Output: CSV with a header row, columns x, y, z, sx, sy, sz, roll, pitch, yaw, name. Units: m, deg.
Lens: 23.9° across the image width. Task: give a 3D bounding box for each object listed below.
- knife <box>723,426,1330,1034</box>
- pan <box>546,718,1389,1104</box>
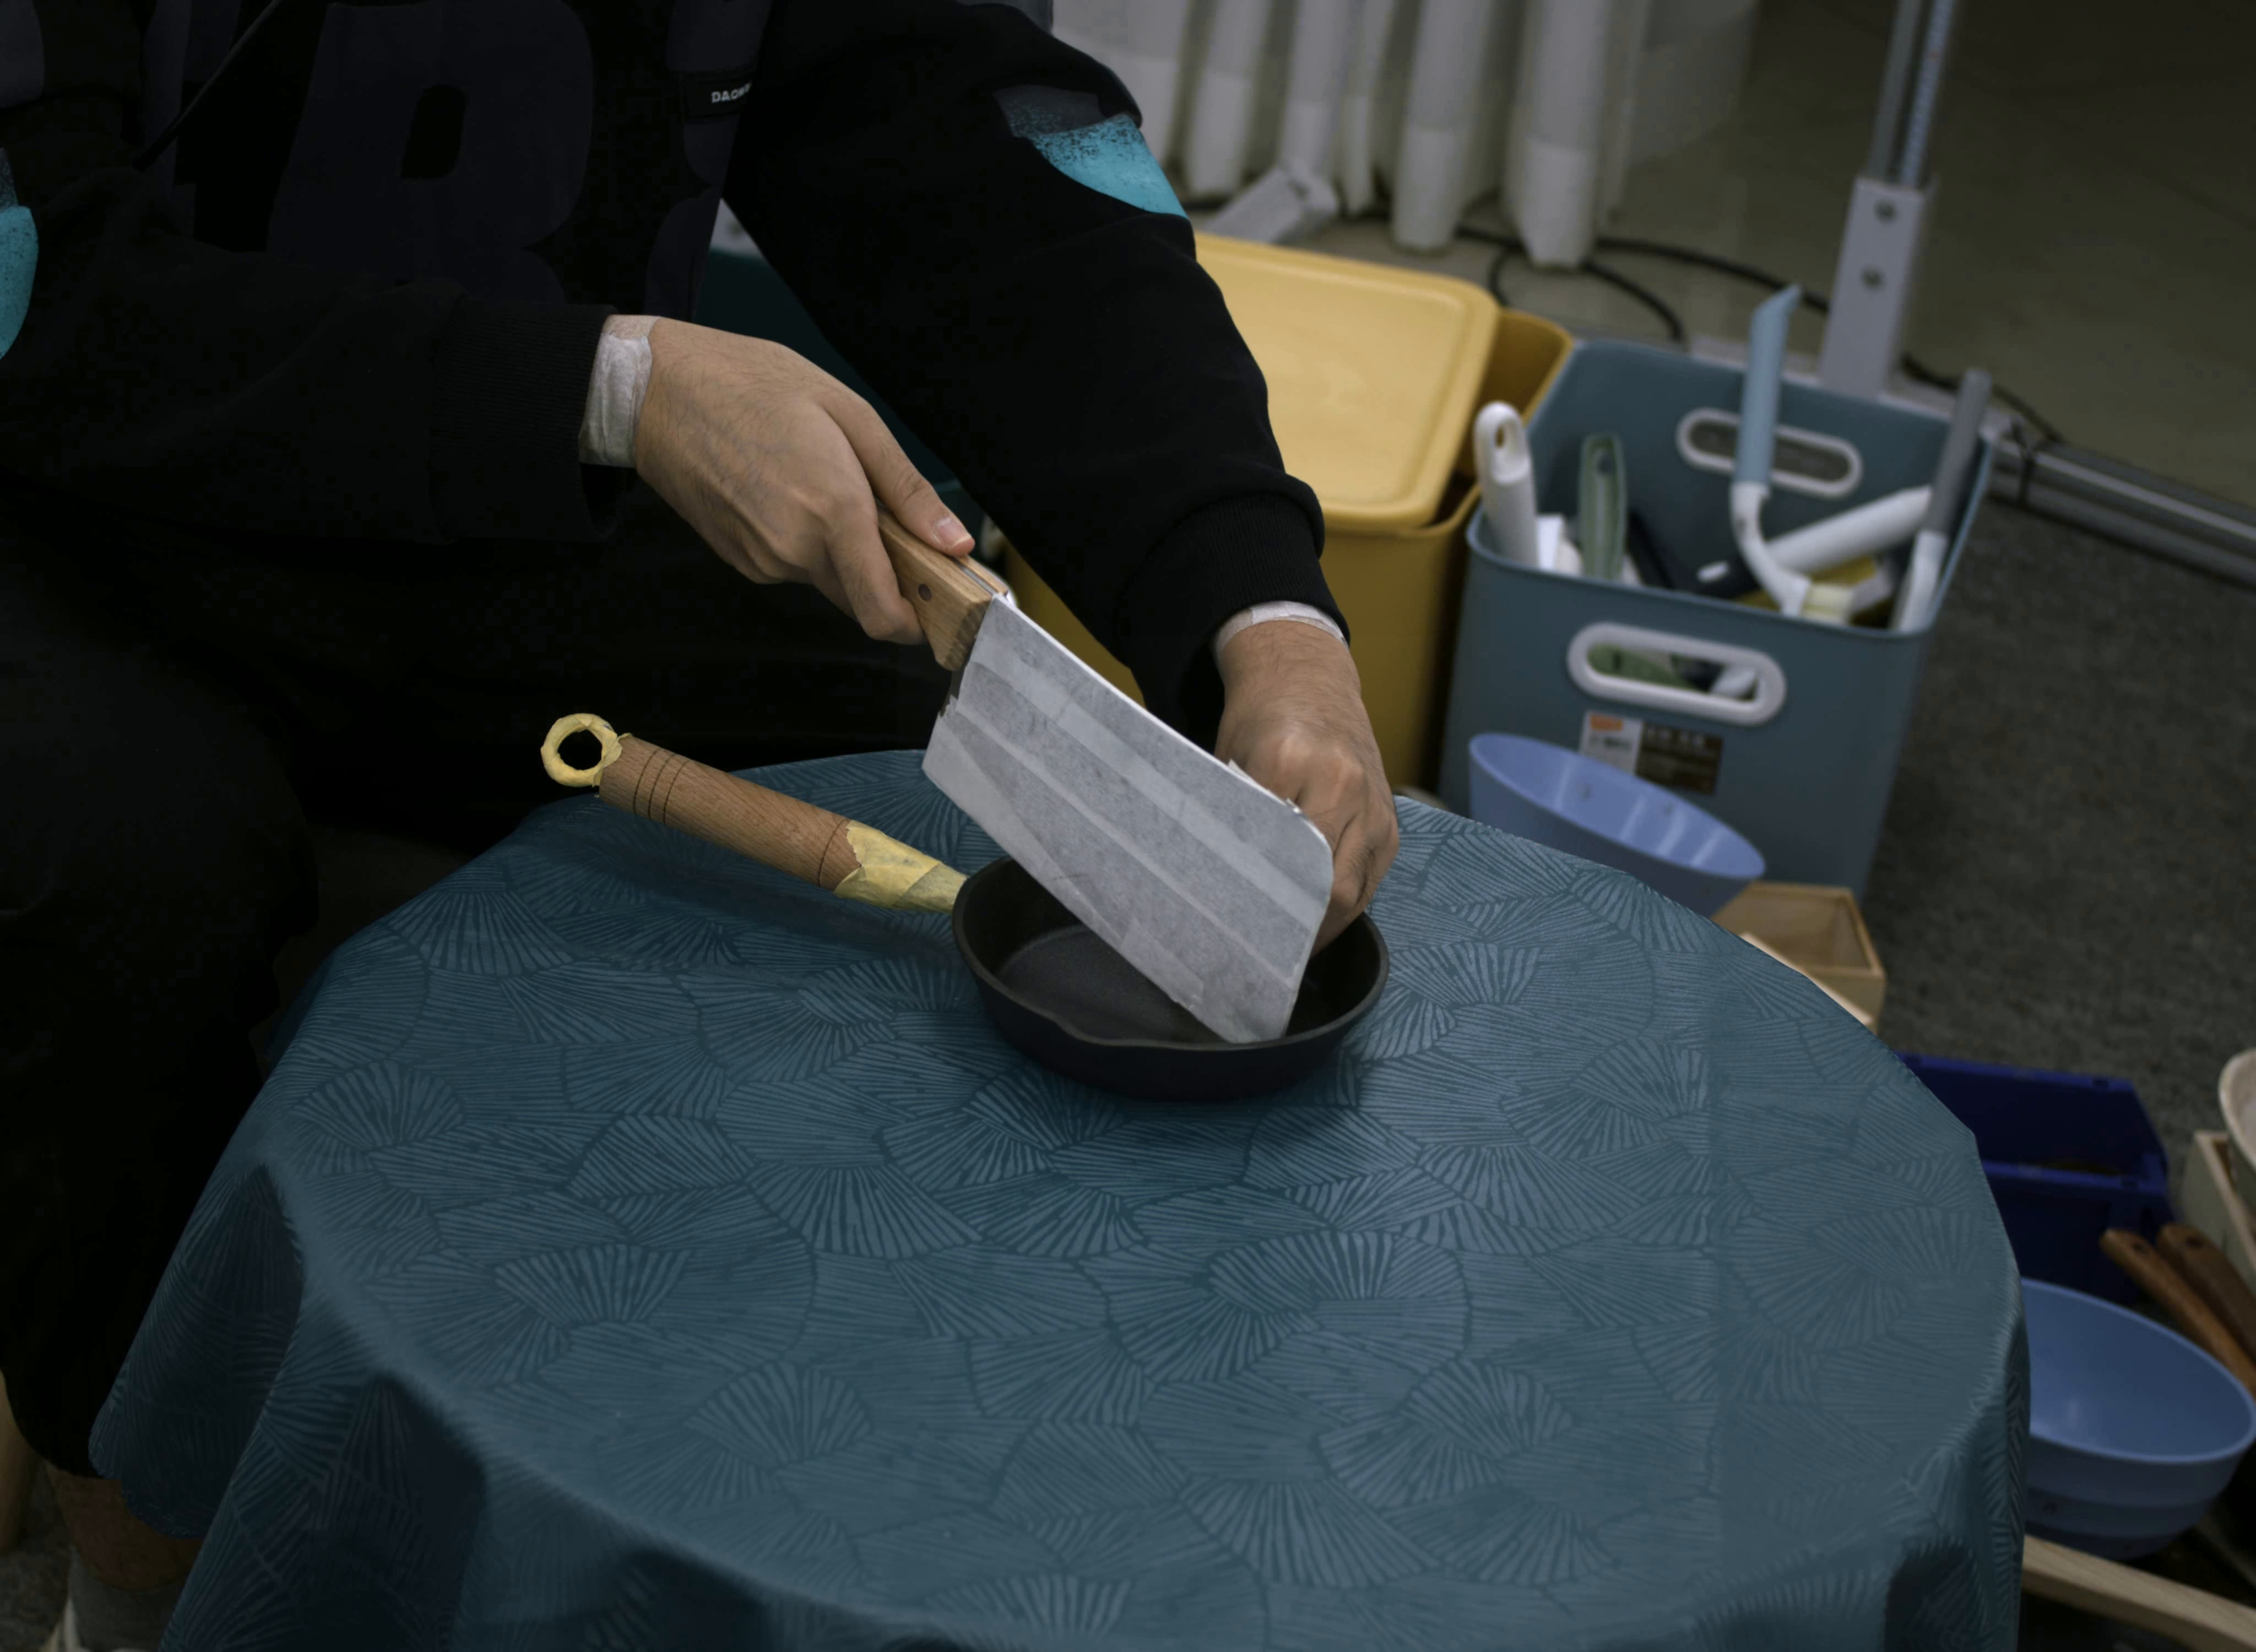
x,y,z,sx,sy,sz,roll,pitch,yaw,name
-0.039,-0.042,1.916,0.021,0.113,0.317,-19,53,-45,knife
-0.063,0.025,1.926,0.325,0.049,0.169,16,29,16,pan
